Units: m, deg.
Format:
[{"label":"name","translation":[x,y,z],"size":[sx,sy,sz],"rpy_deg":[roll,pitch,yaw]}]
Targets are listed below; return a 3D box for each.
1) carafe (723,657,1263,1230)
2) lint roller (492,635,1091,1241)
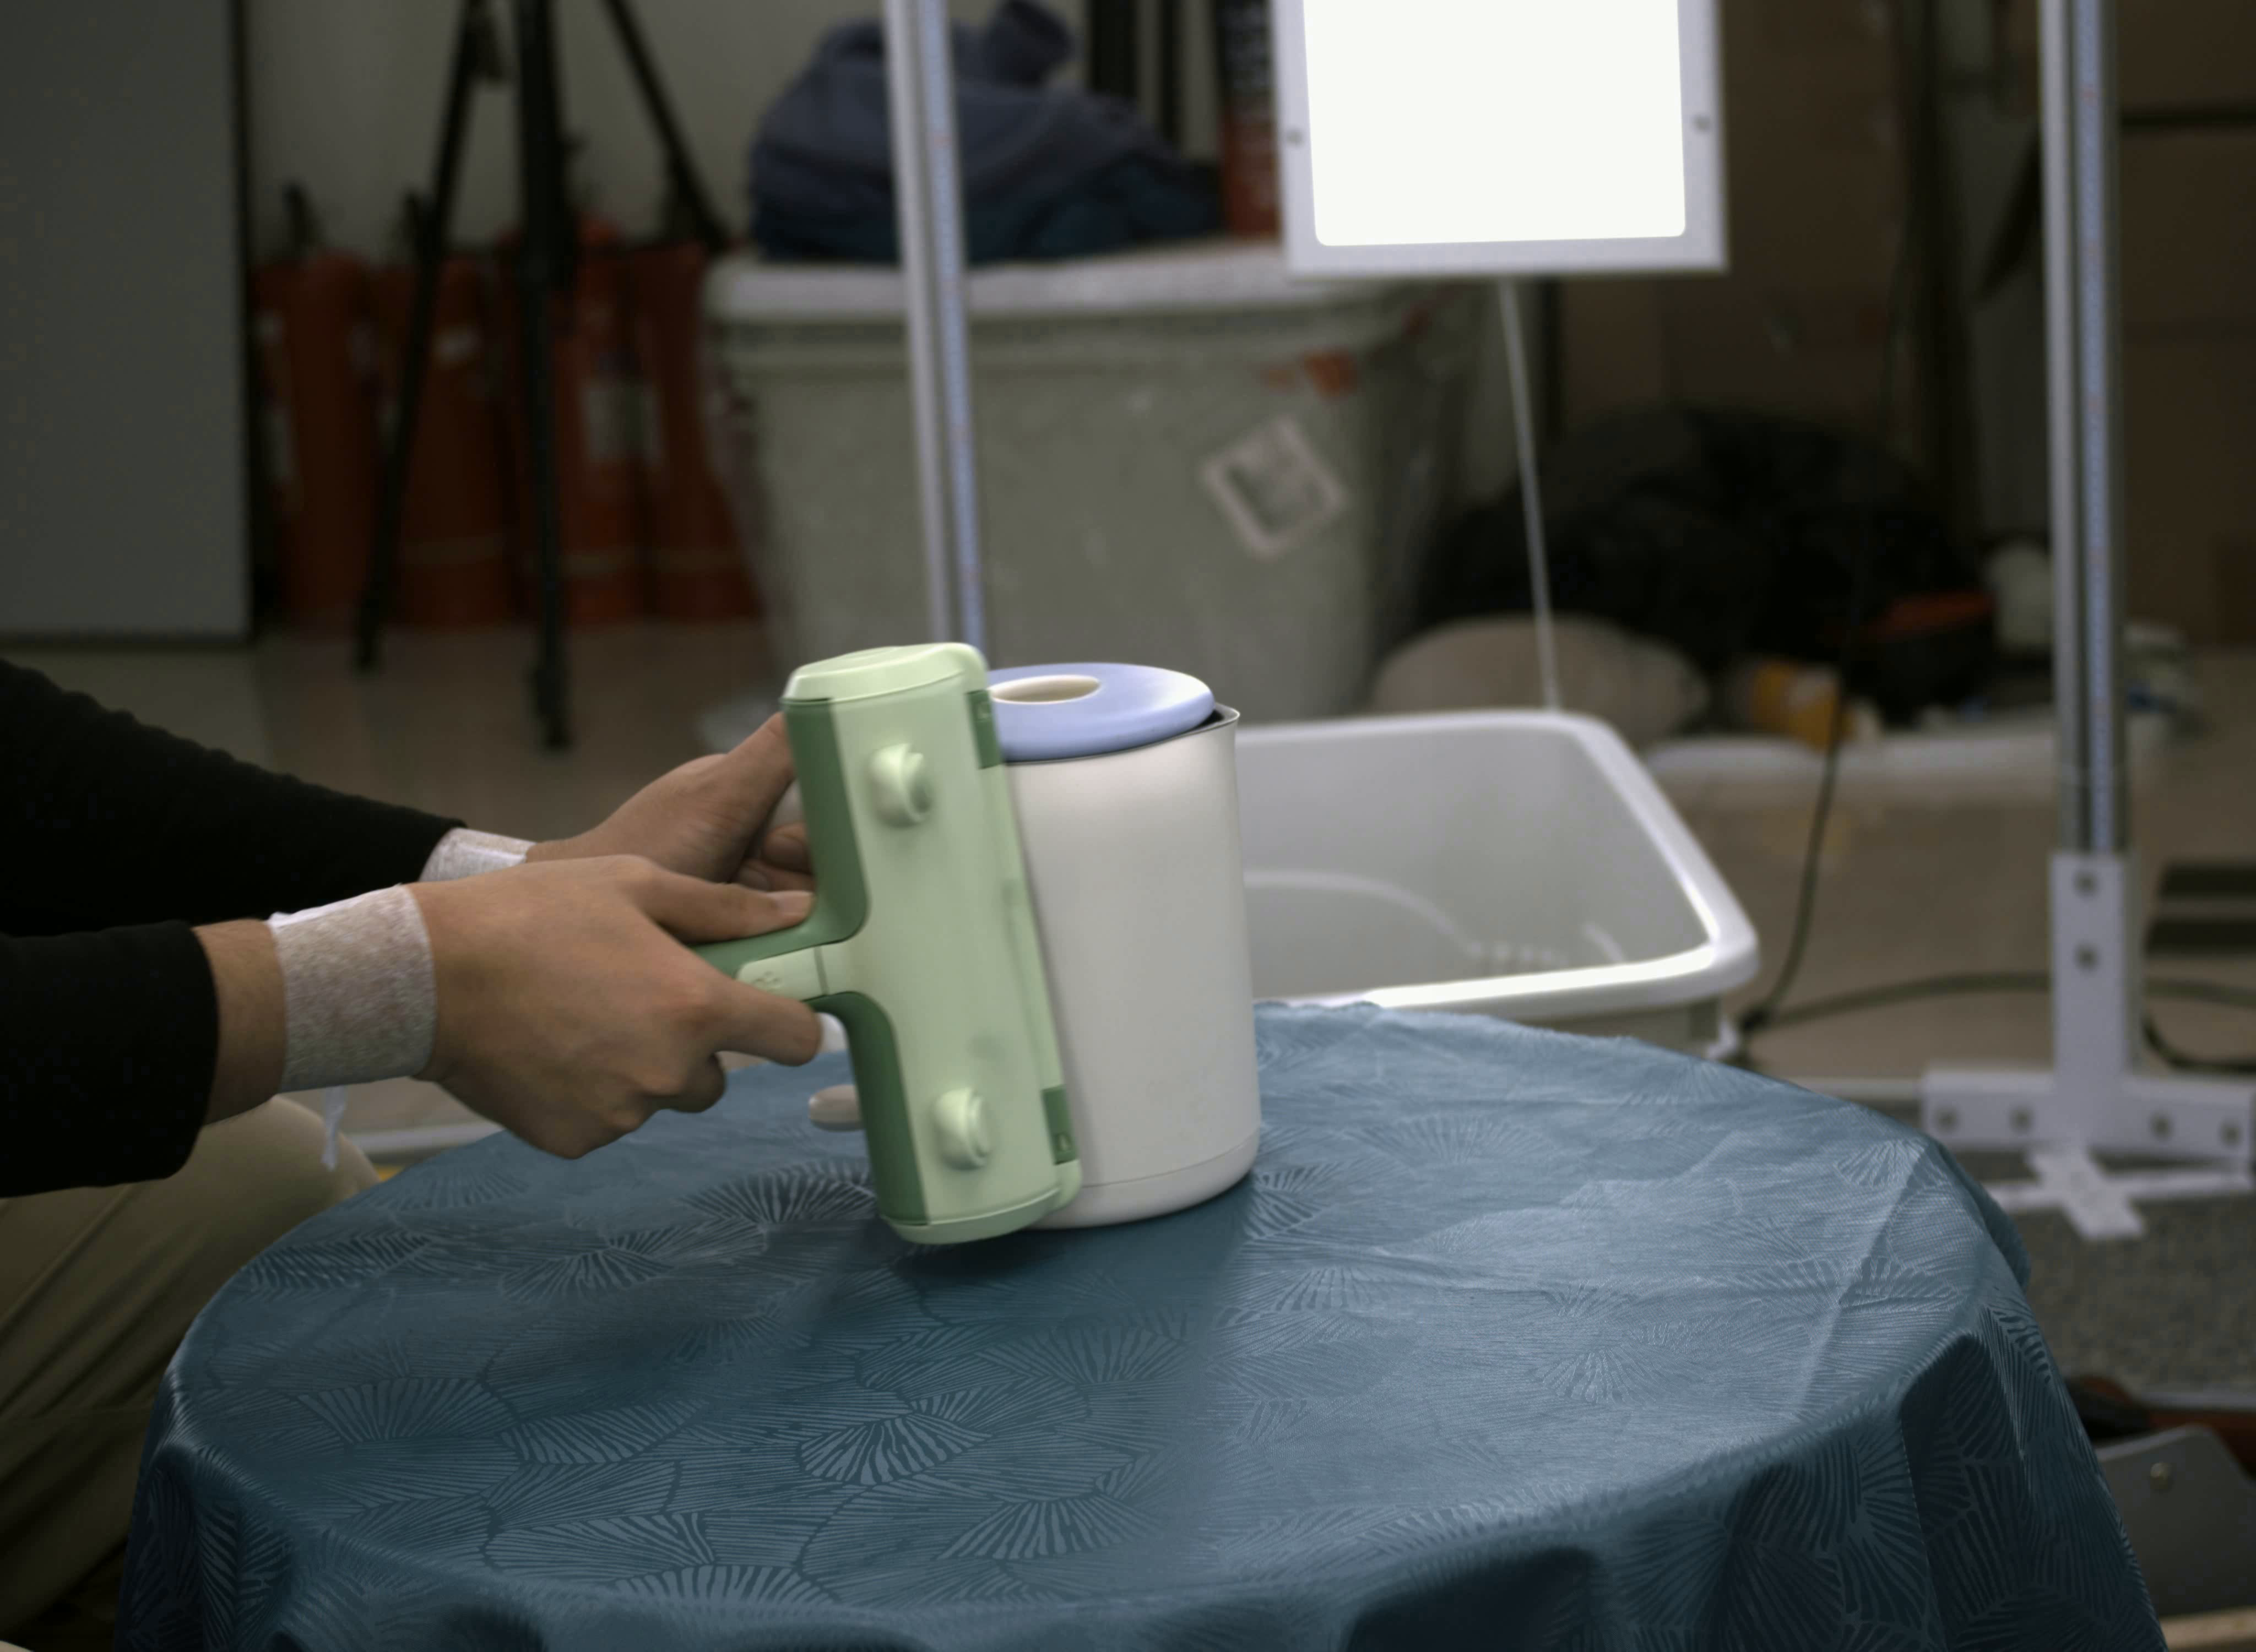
[{"label":"carafe","translation":[-0.048,0.041,1.903],"size":[0.192,0.183,0.131],"rpy_deg":[-4,13,13]},{"label":"lint roller","translation":[-0.112,0.050,1.798],"size":[0.180,0.199,0.083],"rpy_deg":[-13,10,-16]}]
